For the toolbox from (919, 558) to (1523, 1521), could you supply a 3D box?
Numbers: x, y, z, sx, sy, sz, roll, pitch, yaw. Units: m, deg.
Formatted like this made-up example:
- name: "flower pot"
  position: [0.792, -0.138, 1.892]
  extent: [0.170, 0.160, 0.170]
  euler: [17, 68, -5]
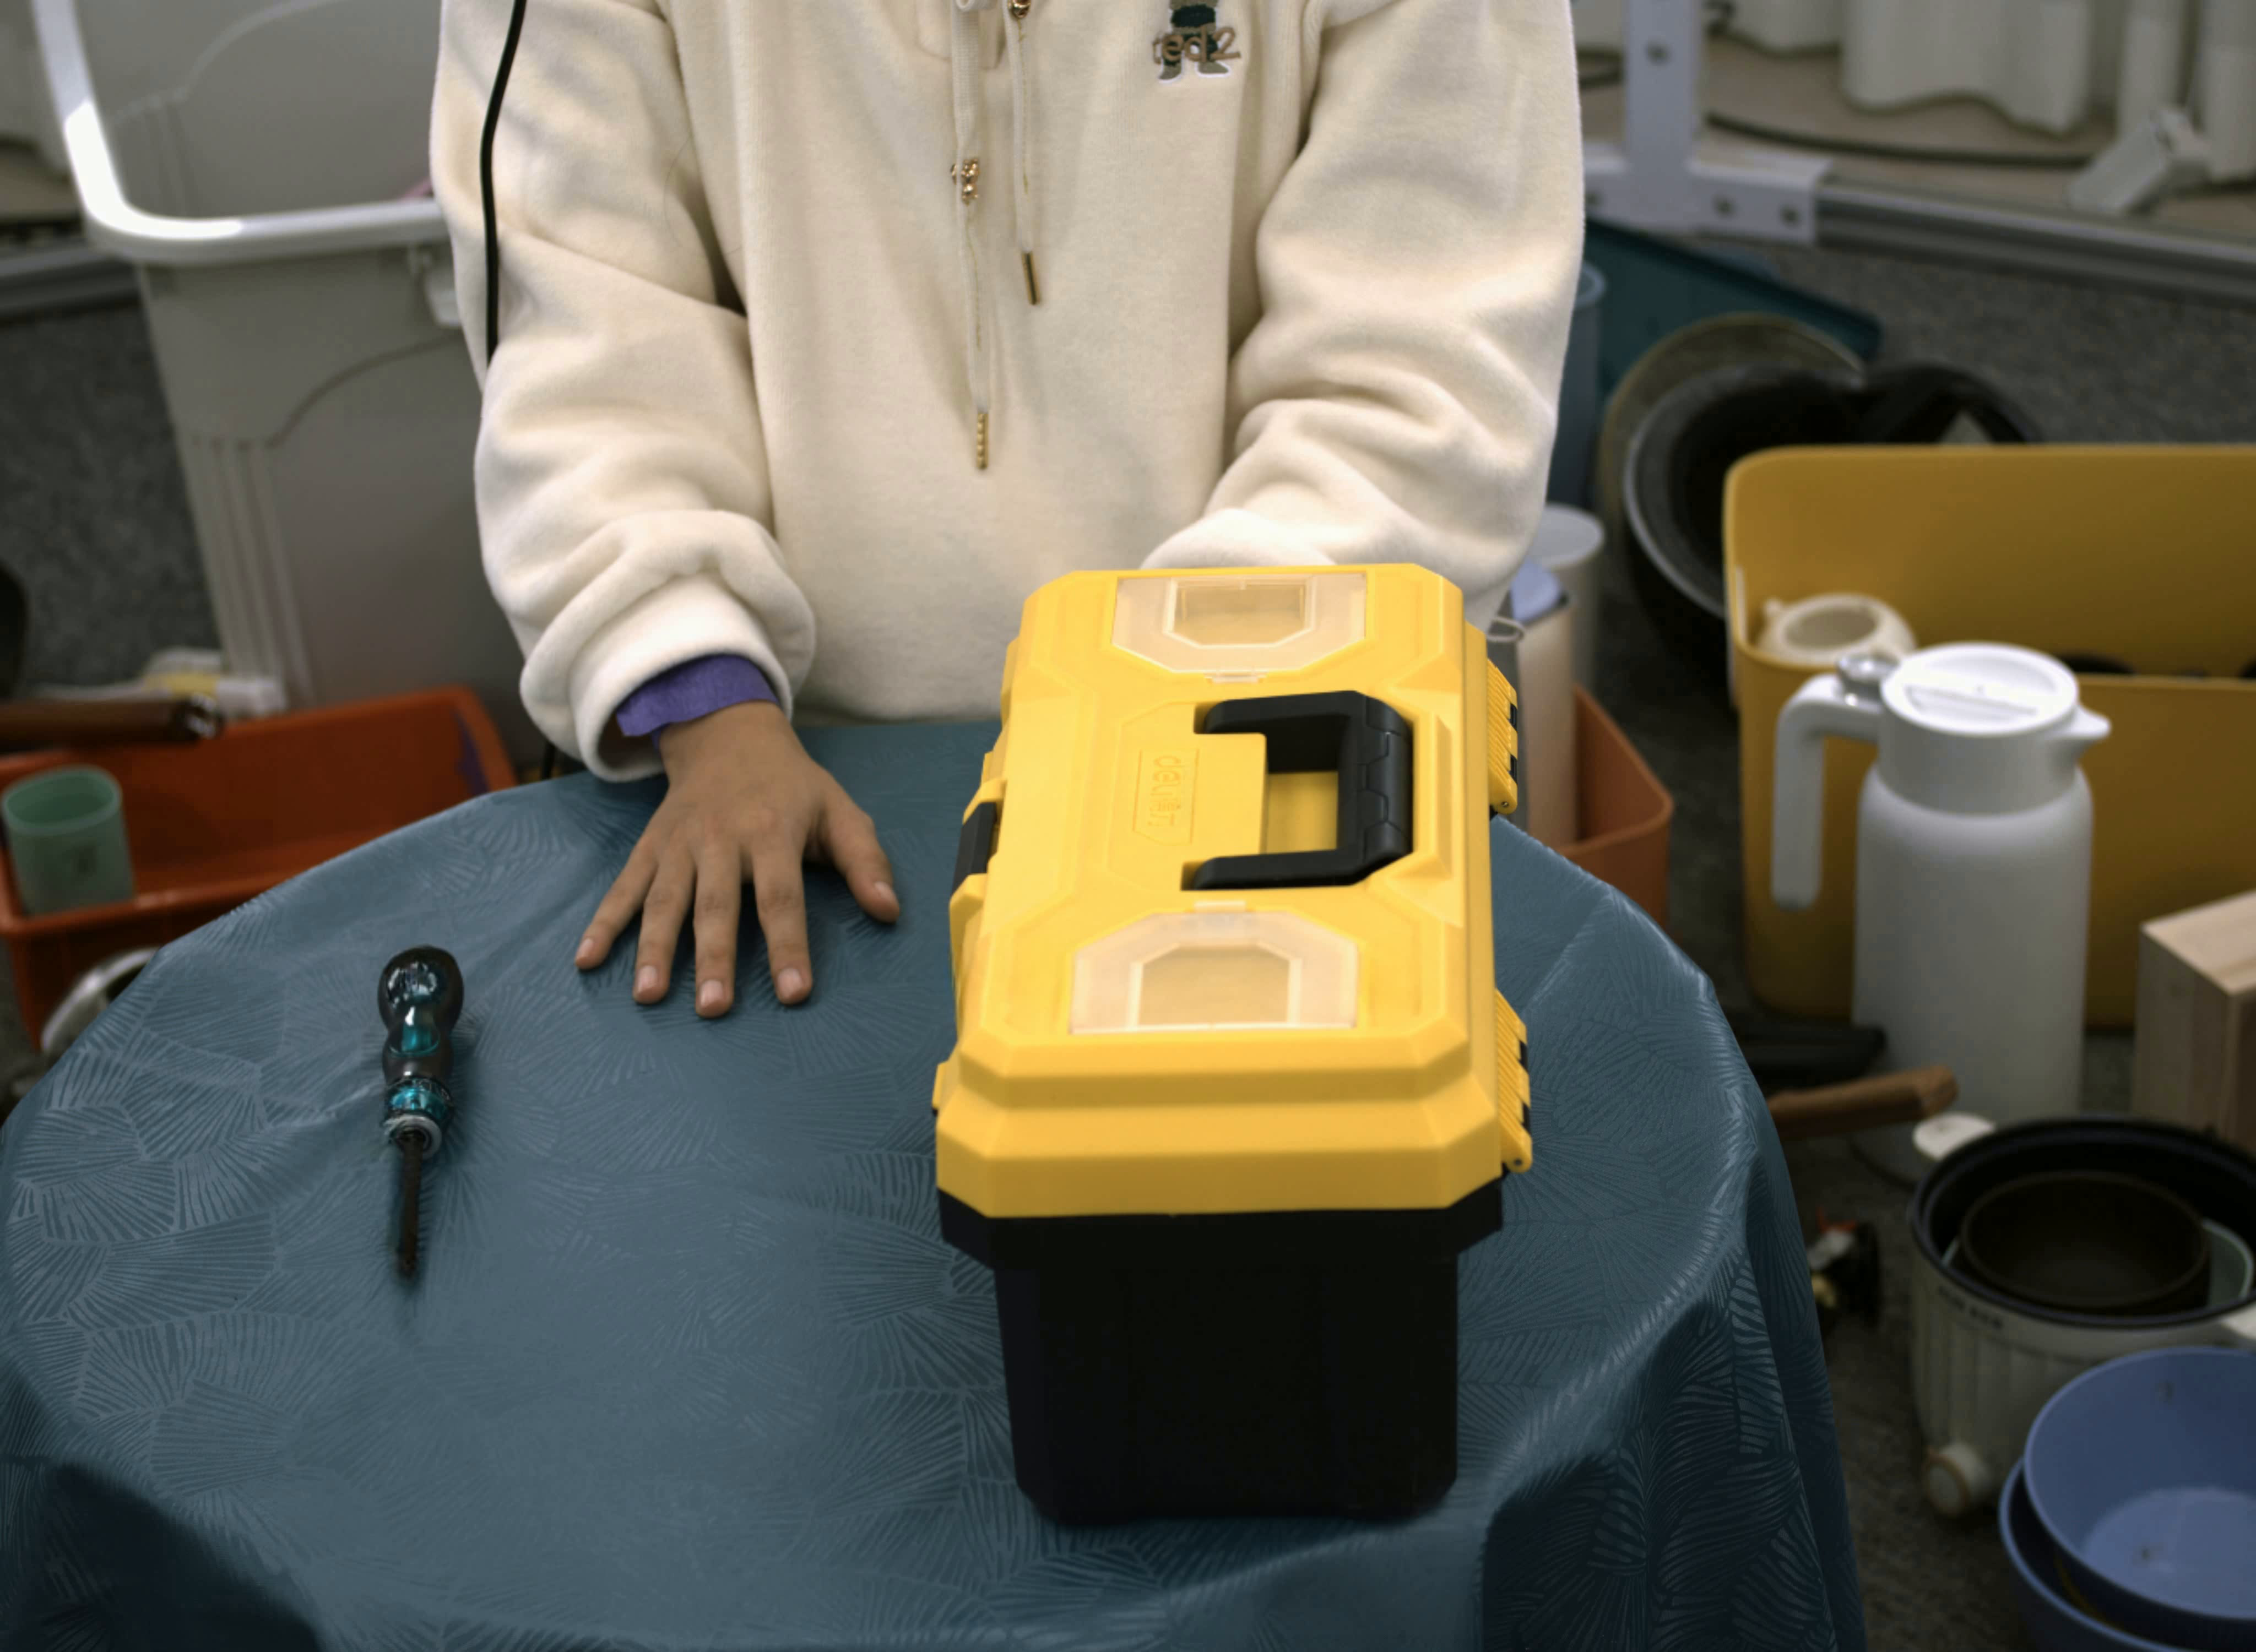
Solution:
- name: "toolbox"
  position: [0.035, 0.061, 1.788]
  extent: [0.180, 0.171, 0.357]
  euler: [-1, 27, 4]

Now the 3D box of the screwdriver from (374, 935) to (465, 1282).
- name: "screwdriver"
  position: [-0.243, 0.098, 1.908]
  extent: [0.033, 0.033, 0.193]
  euler: [-4, 32, -3]
